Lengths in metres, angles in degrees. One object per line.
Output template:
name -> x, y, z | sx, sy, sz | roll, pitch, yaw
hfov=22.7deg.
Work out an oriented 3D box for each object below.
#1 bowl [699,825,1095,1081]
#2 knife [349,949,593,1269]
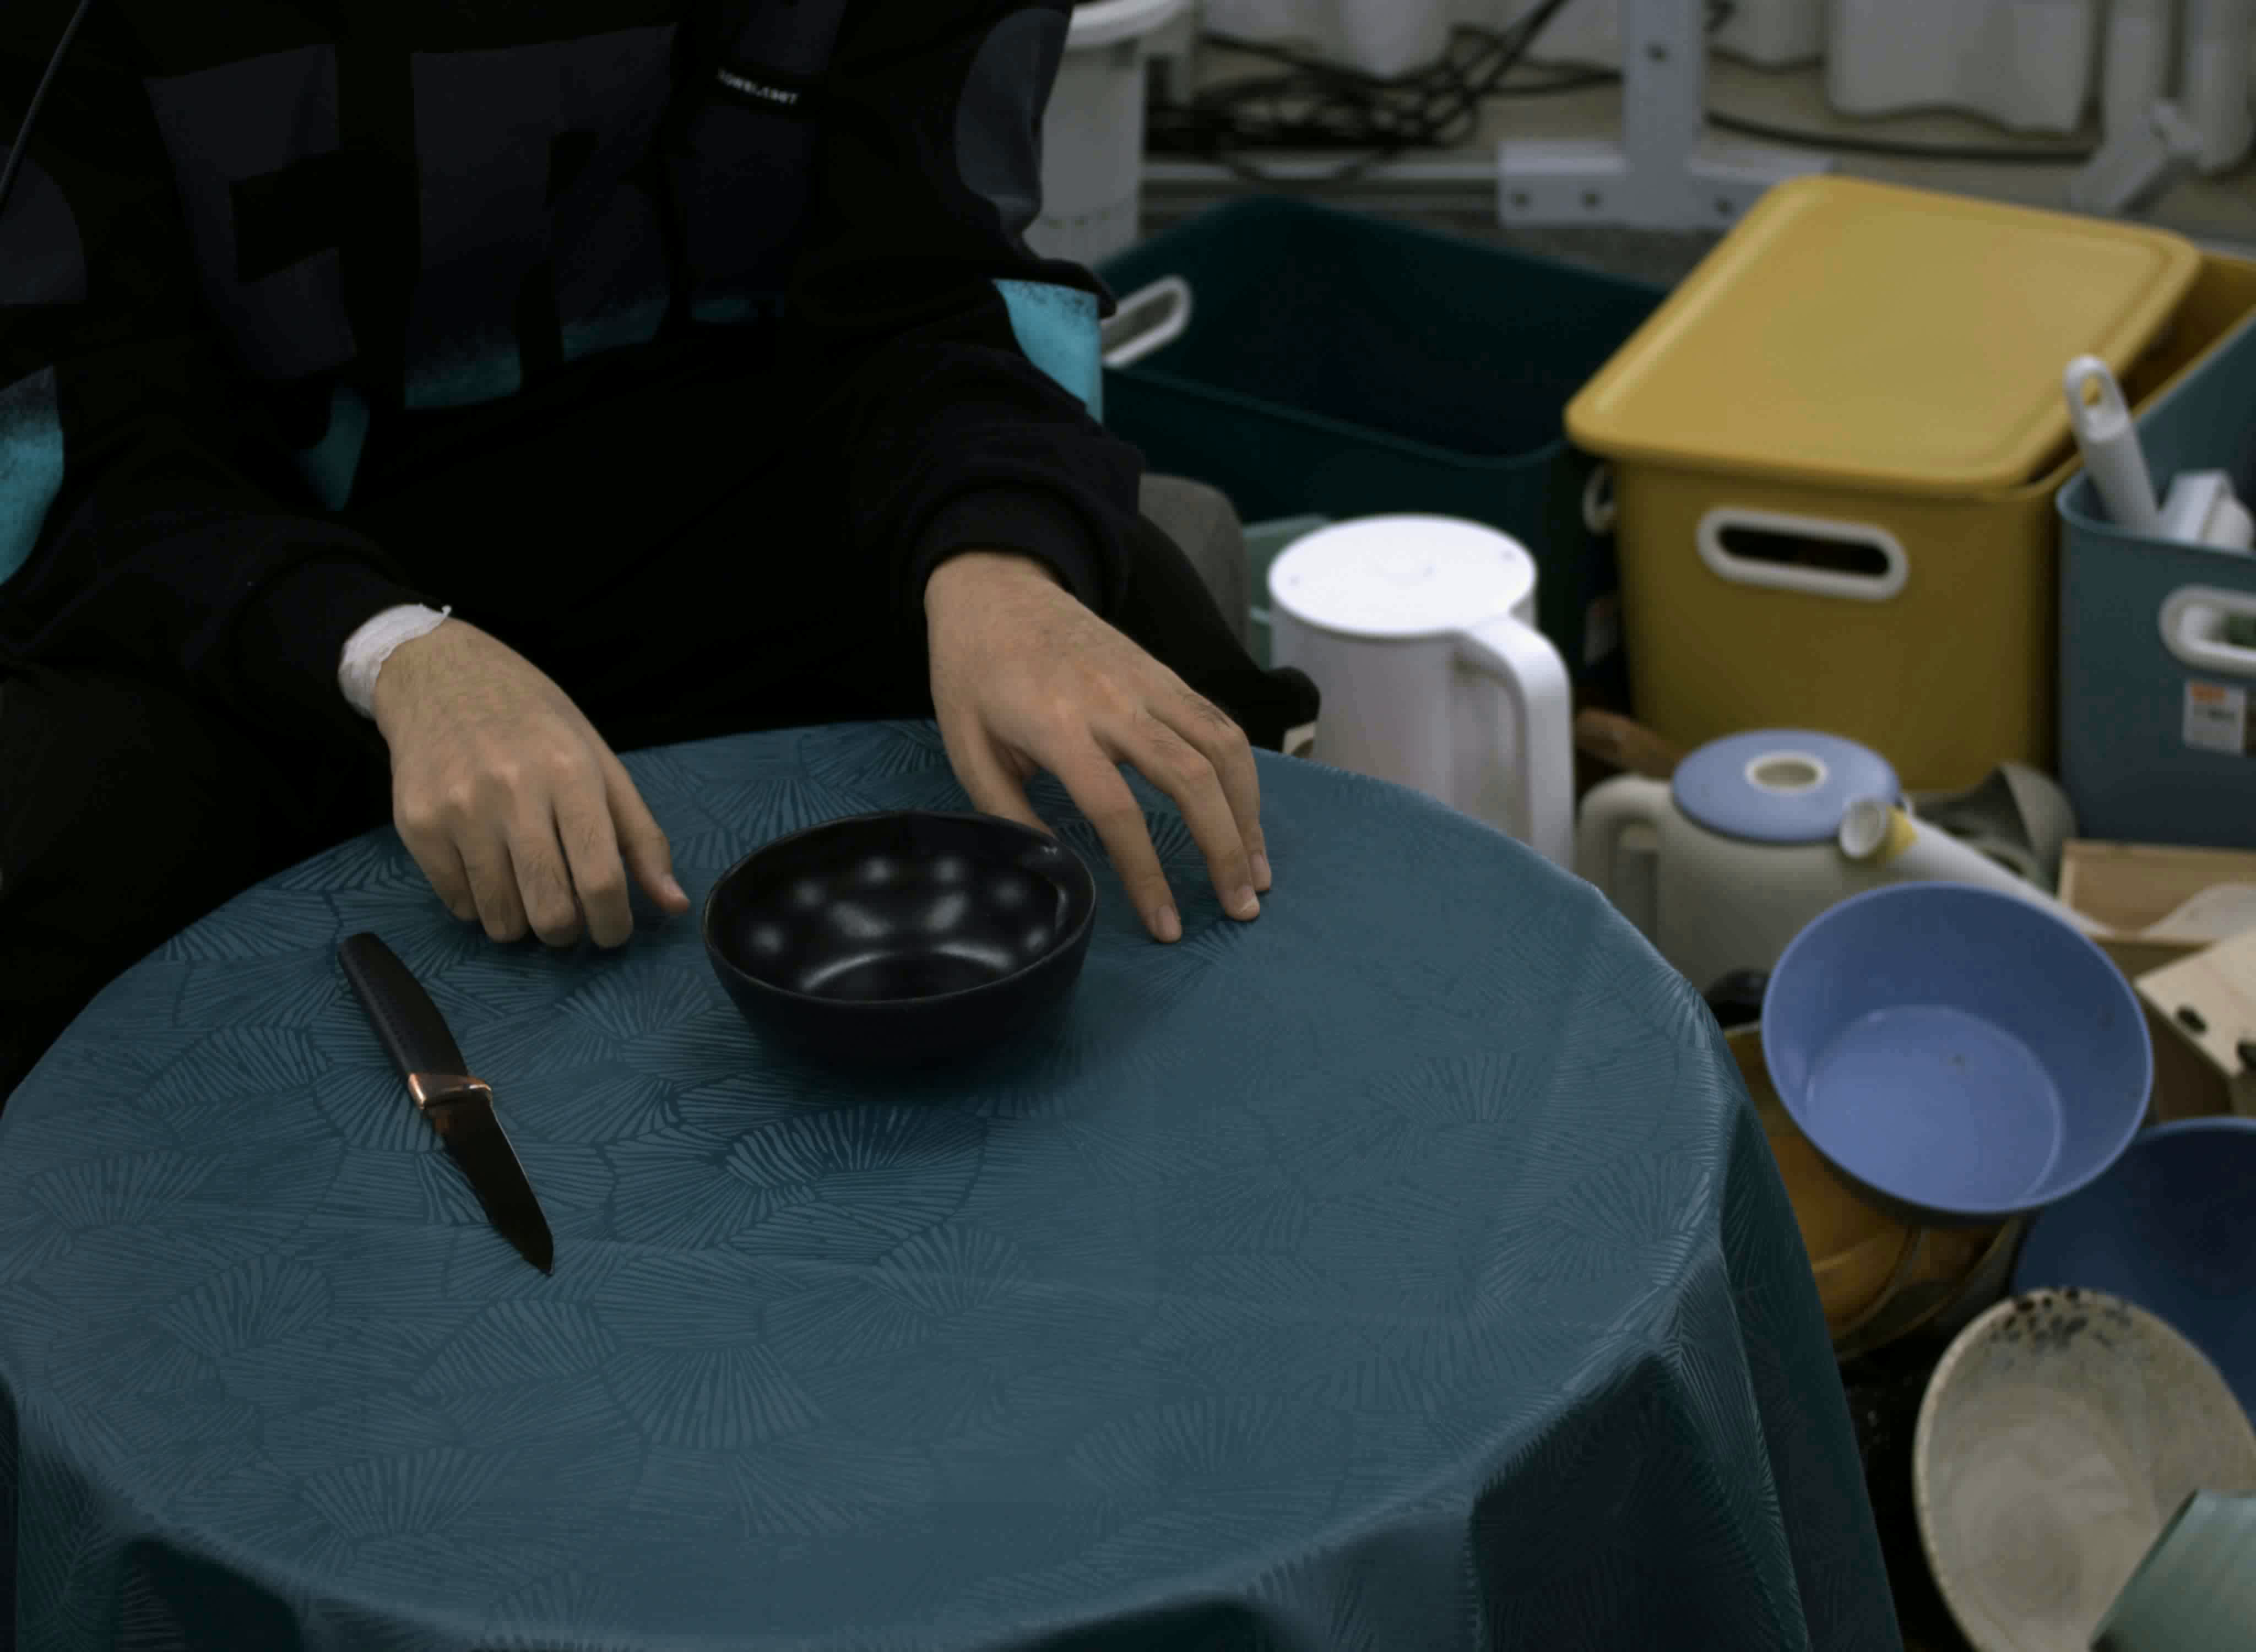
bowl -> -0.078, 0.051, 1.959 | 0.139, 0.049, 0.142 | -5, 24, 3
knife -> -0.227, 0.097, 1.921 | 0.026, 0.017, 0.227 | -11, 30, -21
